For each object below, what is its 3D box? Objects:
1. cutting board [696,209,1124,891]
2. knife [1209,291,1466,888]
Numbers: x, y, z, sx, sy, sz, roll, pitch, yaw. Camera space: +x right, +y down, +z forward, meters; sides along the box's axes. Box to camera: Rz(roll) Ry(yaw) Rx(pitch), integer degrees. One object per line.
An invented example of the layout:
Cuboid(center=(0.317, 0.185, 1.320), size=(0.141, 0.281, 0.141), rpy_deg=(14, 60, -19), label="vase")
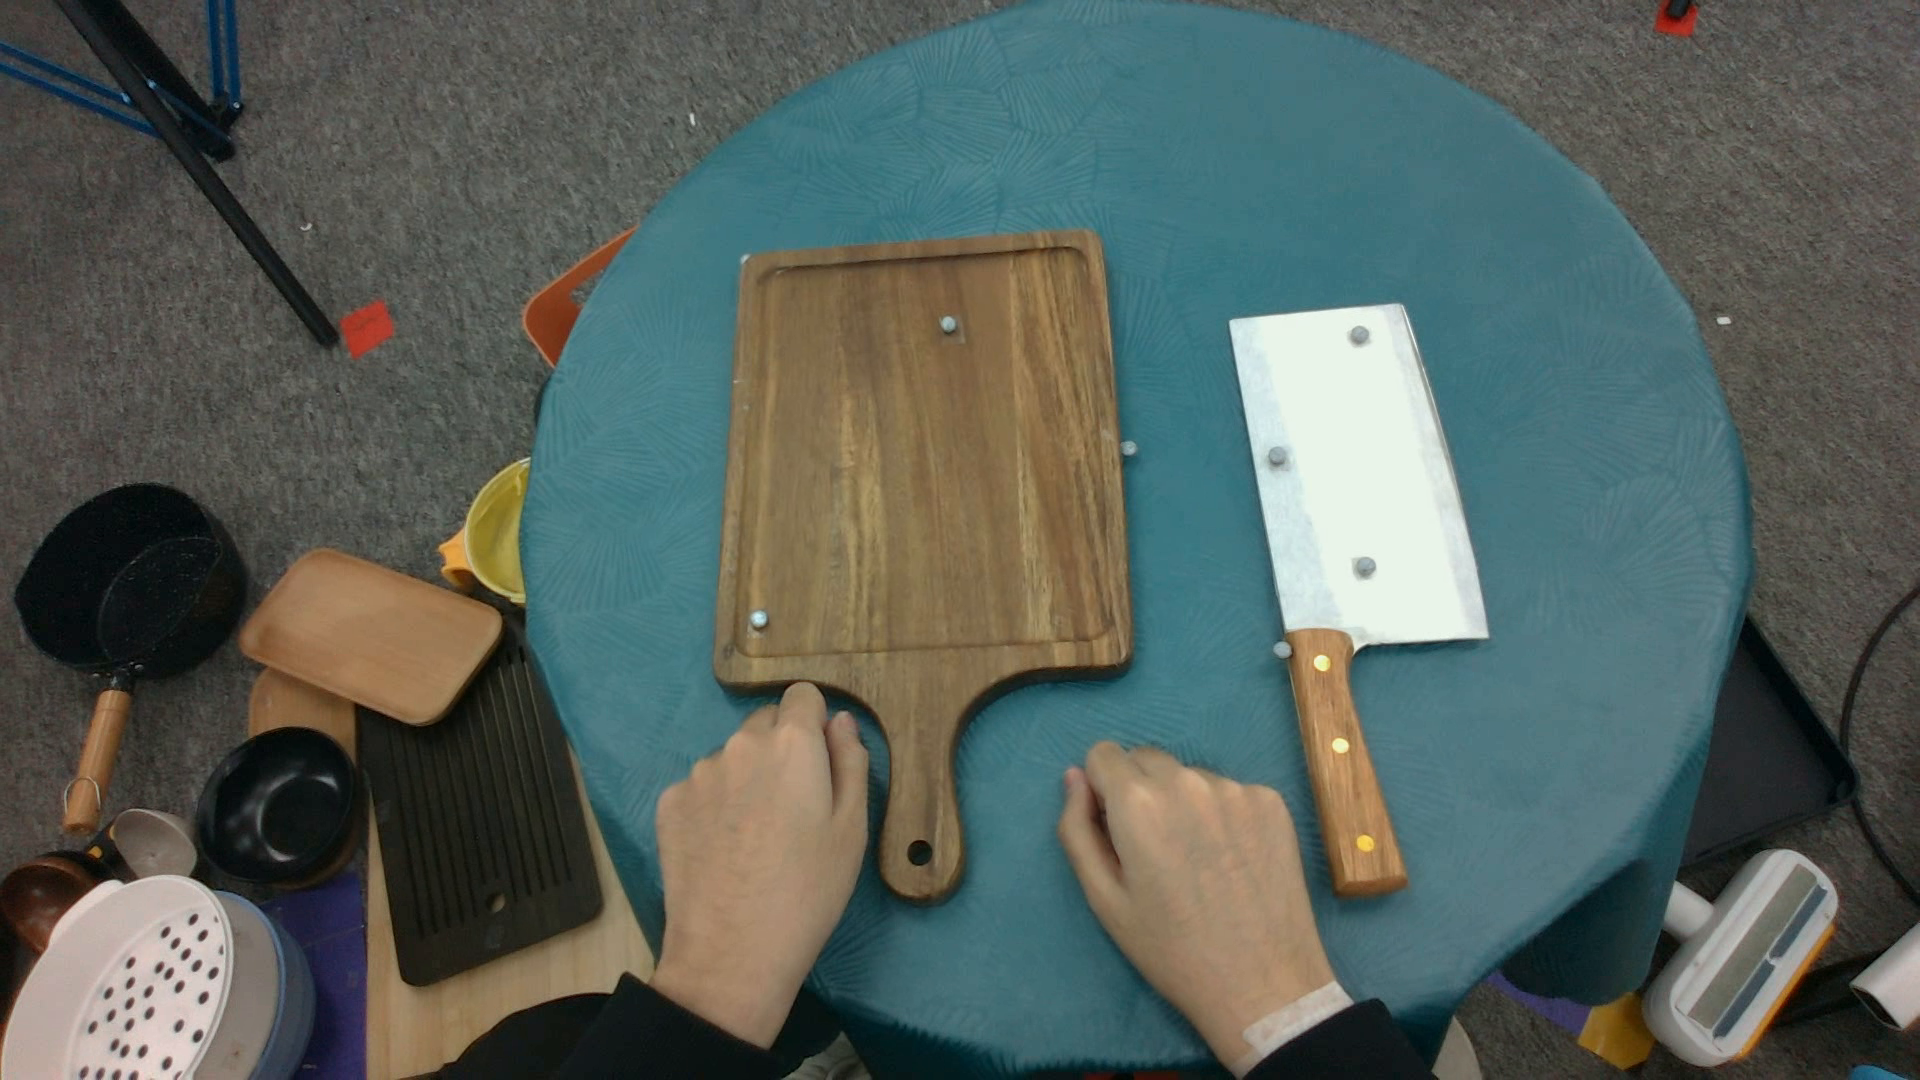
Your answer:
Cuboid(center=(-0.027, -0.010, 0.664), size=(0.201, 0.023, 0.353), rpy_deg=(-4, 64, 3), label="cutting board")
Cuboid(center=(0.182, 0.006, 0.641), size=(0.093, 0.021, 0.307), rpy_deg=(-5, 61, 1), label="knife")
